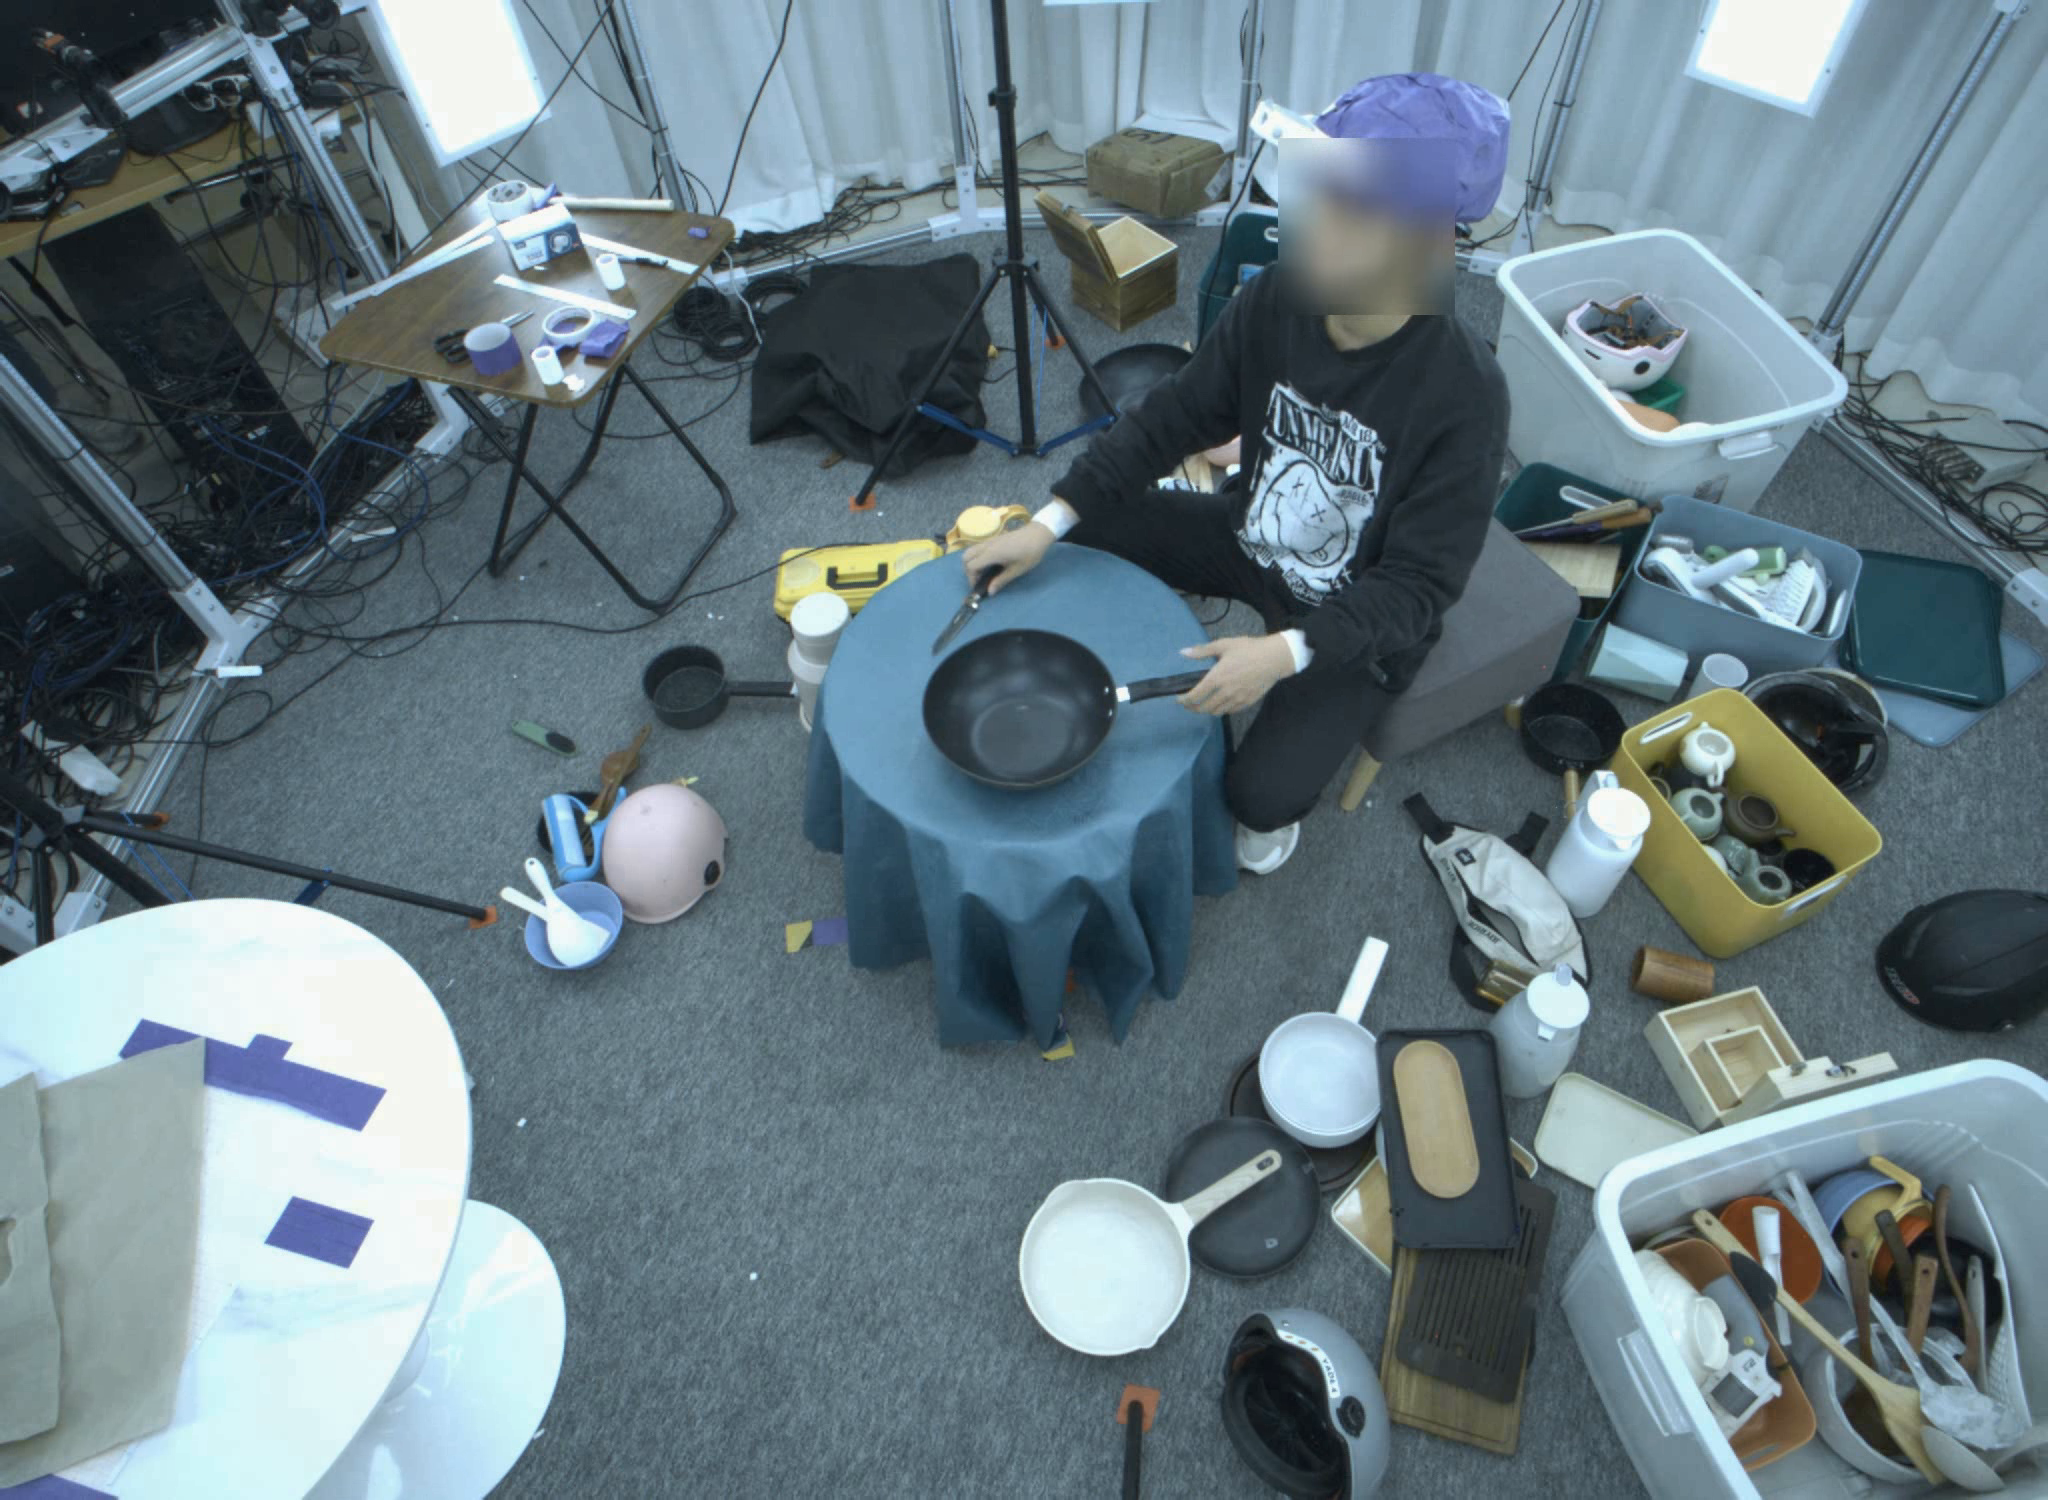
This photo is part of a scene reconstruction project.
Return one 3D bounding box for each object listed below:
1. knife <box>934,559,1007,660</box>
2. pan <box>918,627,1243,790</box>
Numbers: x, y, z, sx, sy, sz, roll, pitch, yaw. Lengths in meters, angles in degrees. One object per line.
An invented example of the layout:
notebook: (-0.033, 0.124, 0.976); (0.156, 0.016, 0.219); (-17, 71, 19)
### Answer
knife: (-0.088, -0.224, 1.941); (0.026, 0.017, 0.226); (30, 61, 7)
pan: (0.082, -0.057, 1.772); (0.465, 0.088, 0.284); (-6, 55, -4)
